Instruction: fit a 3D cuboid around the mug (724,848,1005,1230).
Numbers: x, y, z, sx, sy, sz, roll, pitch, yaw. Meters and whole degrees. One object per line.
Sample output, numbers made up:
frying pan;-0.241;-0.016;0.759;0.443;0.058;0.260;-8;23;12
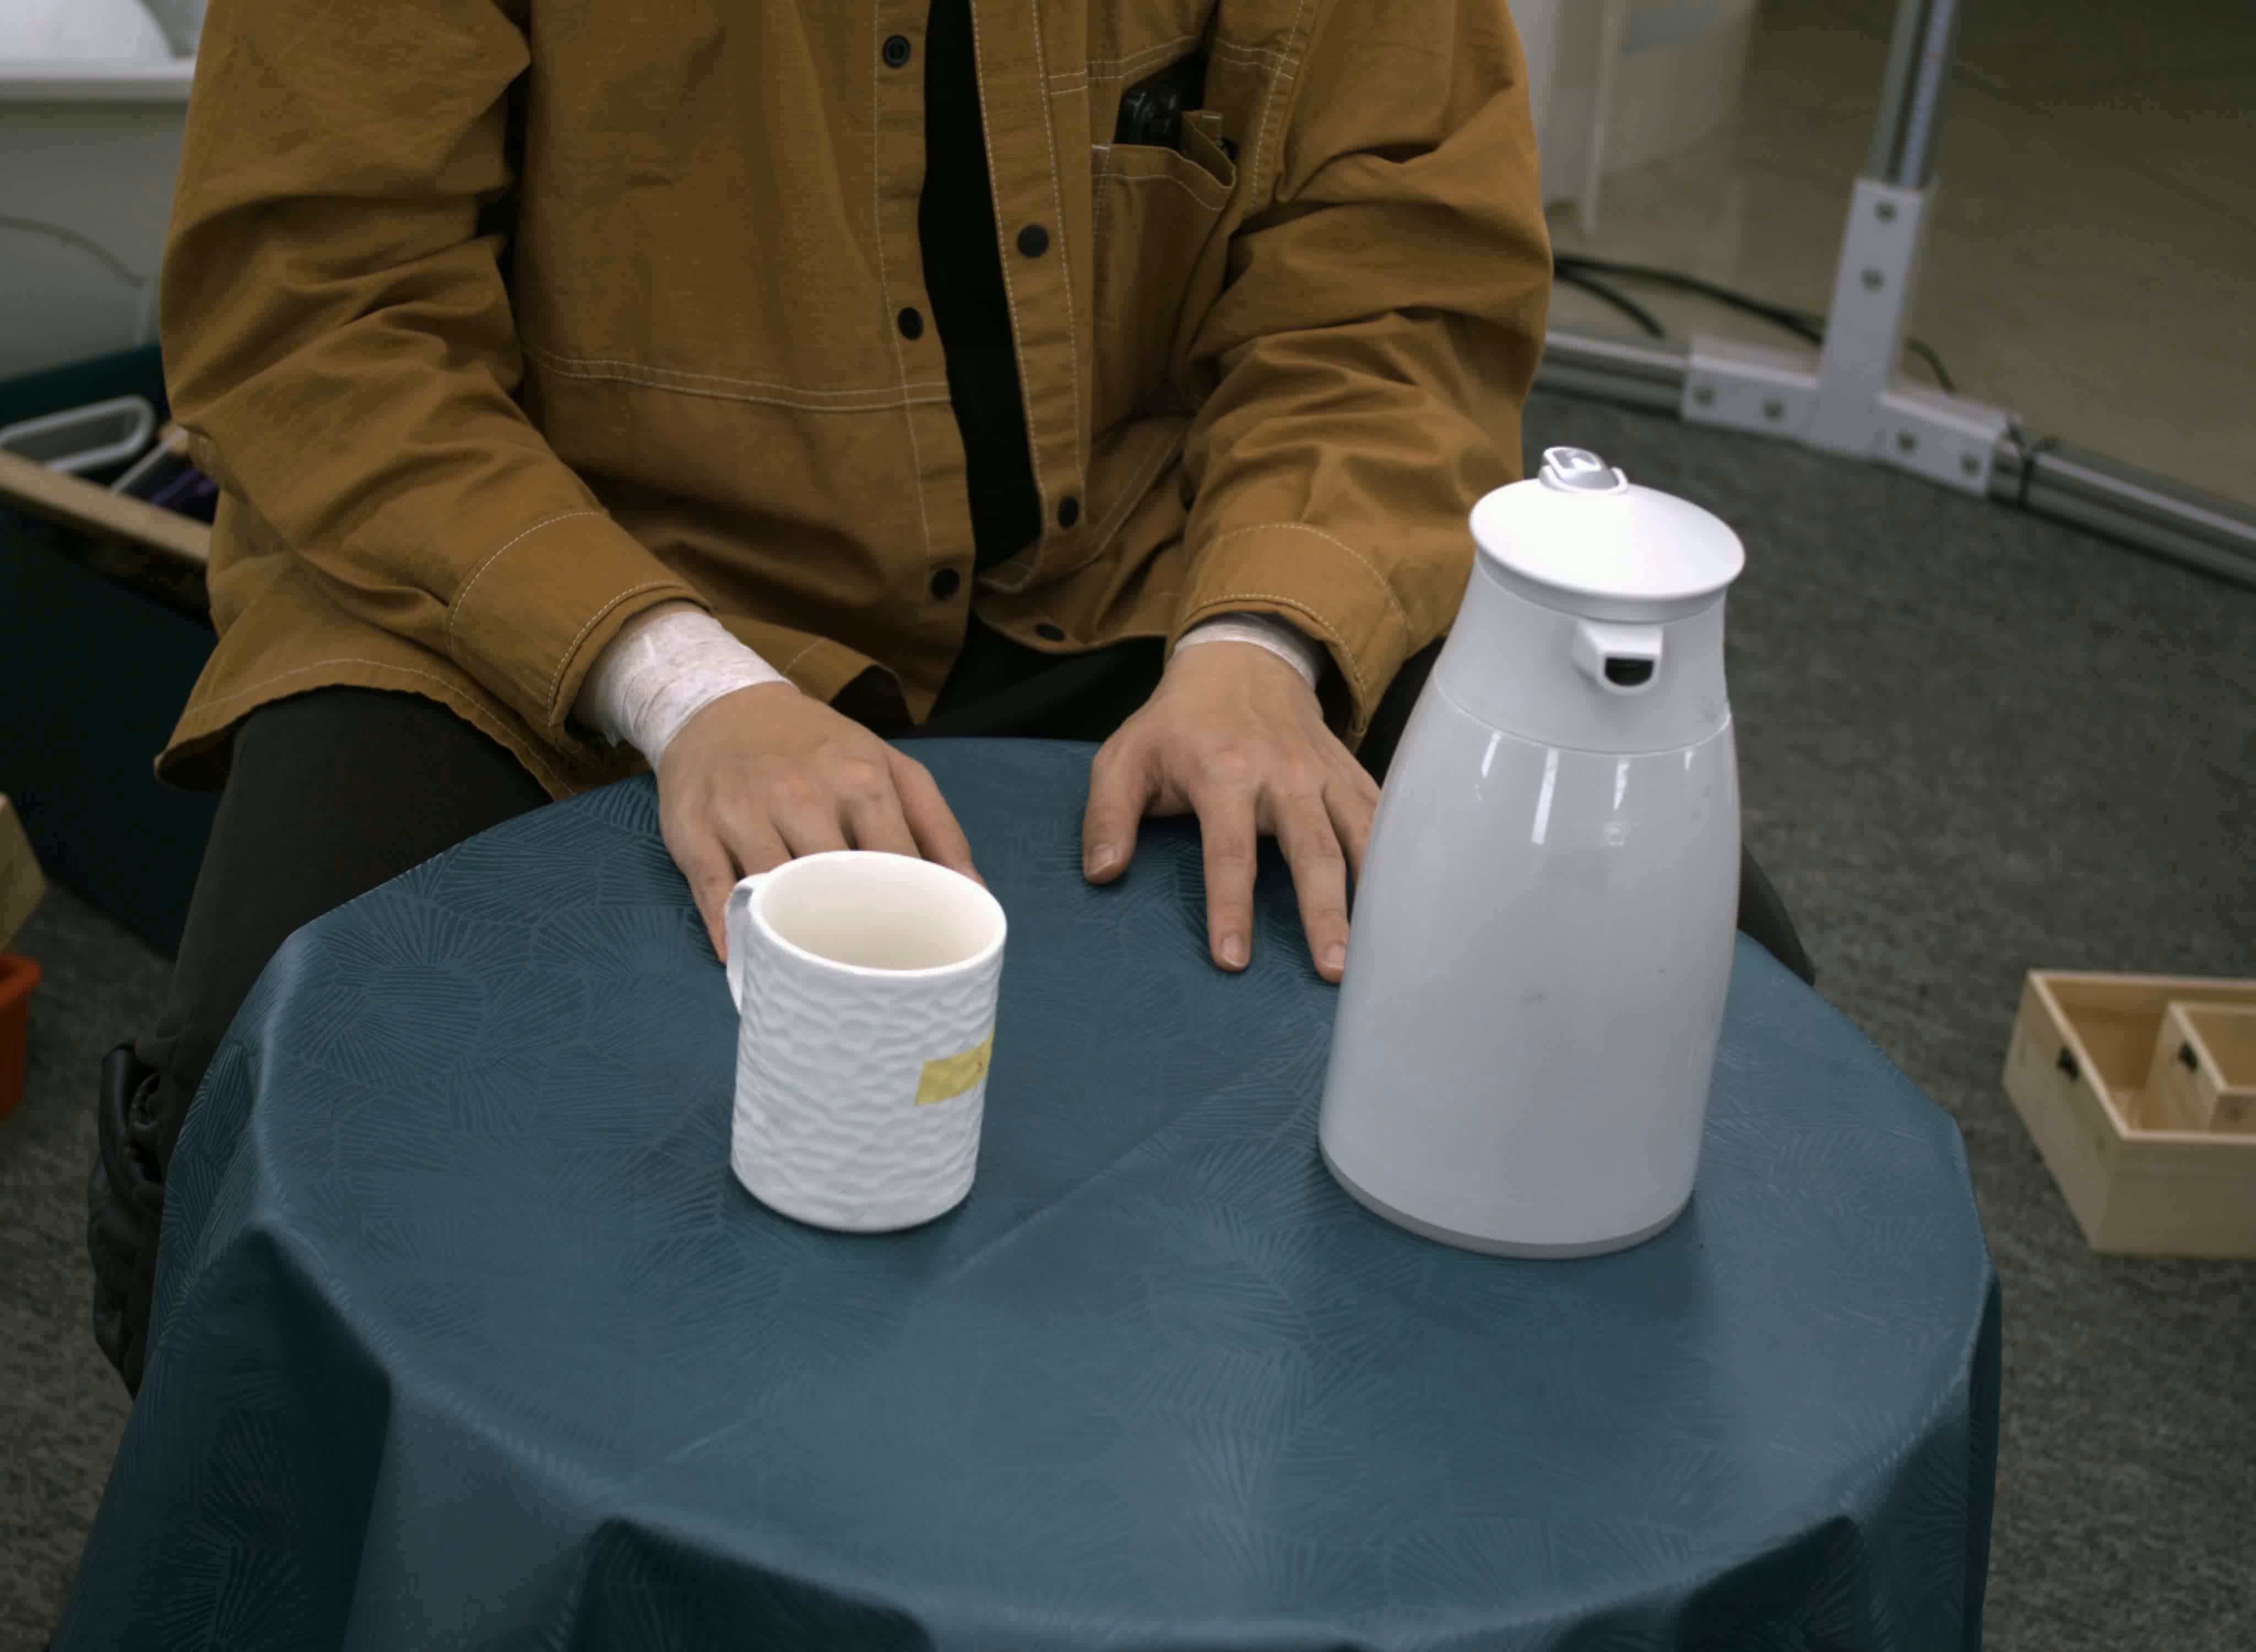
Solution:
mug;-0.098;0.065;1.785;0.084;0.101;0.119;-14;33;-36

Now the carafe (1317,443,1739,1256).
carafe;0.140;-0.003;1.811;0.132;0.248;0.169;2;26;-8
